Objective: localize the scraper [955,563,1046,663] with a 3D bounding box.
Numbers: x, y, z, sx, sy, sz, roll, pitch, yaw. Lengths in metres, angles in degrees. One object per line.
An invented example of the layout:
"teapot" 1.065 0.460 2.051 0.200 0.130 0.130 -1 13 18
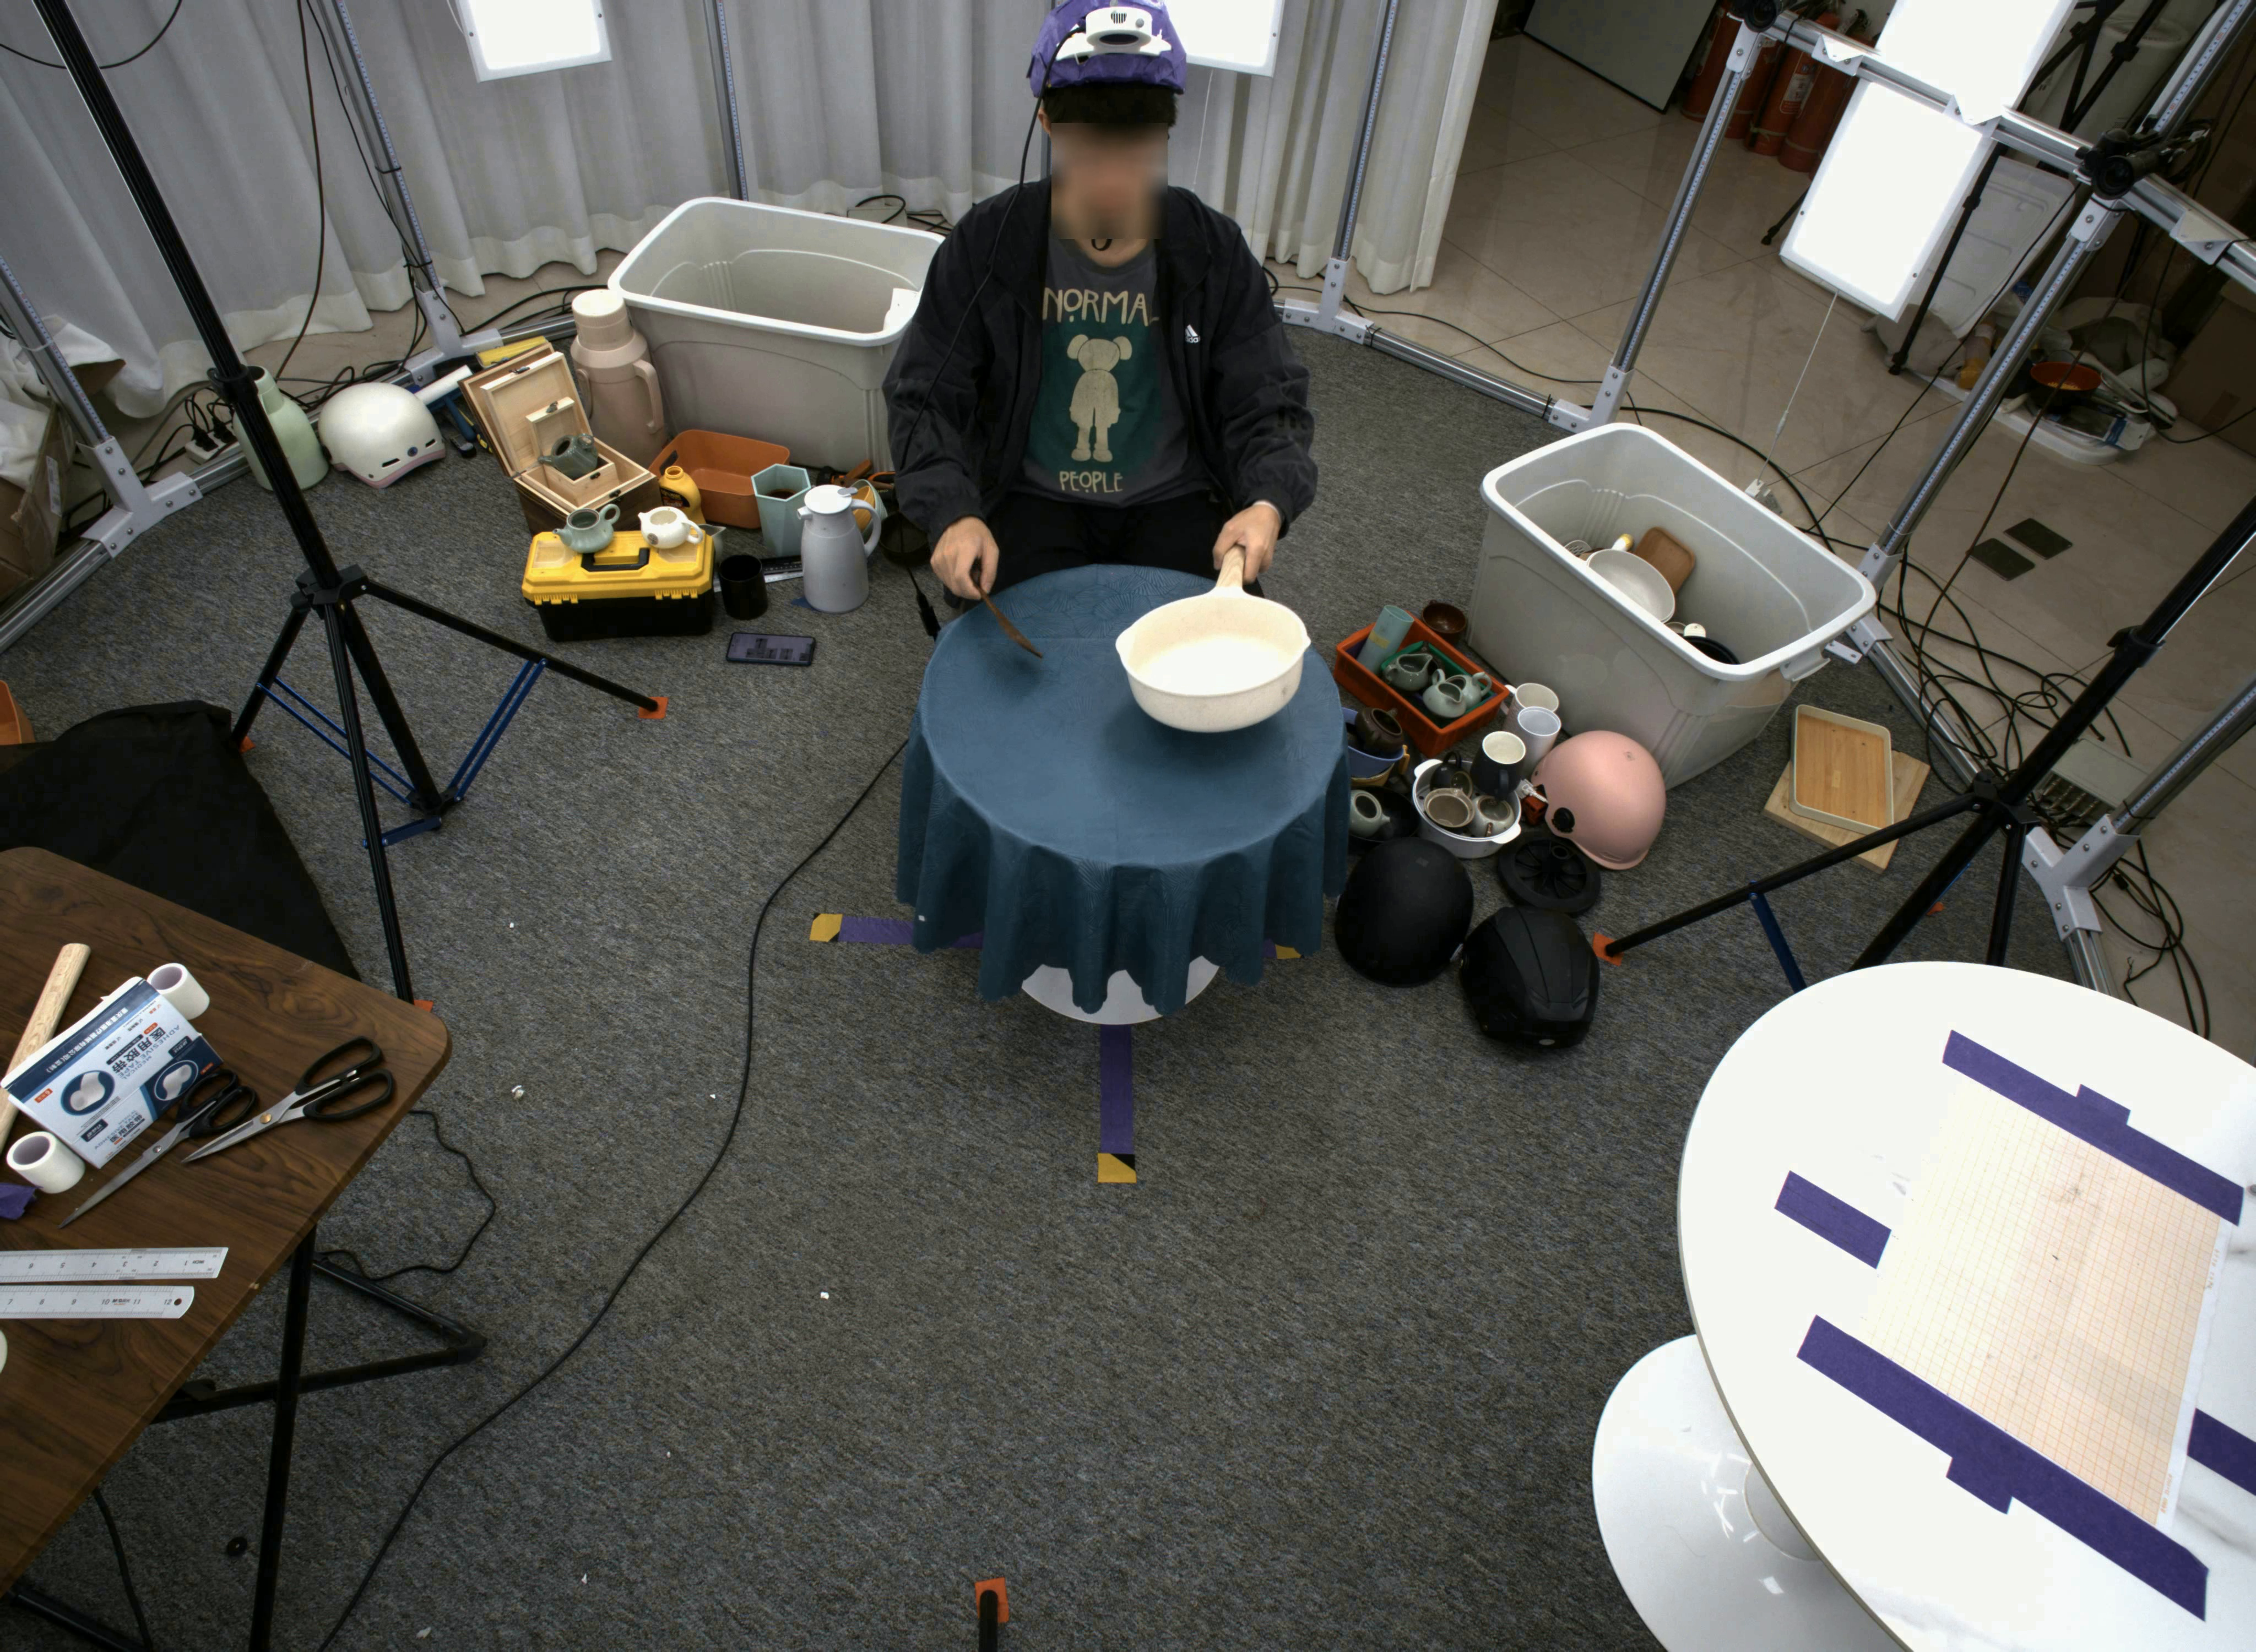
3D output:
"scraper" -0.189 -0.311 1.858 0.011 0.074 0.215 -41 63 2

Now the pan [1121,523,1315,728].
"pan" 0.141 -0.284 1.810 0.264 0.099 0.444 0 38 14
